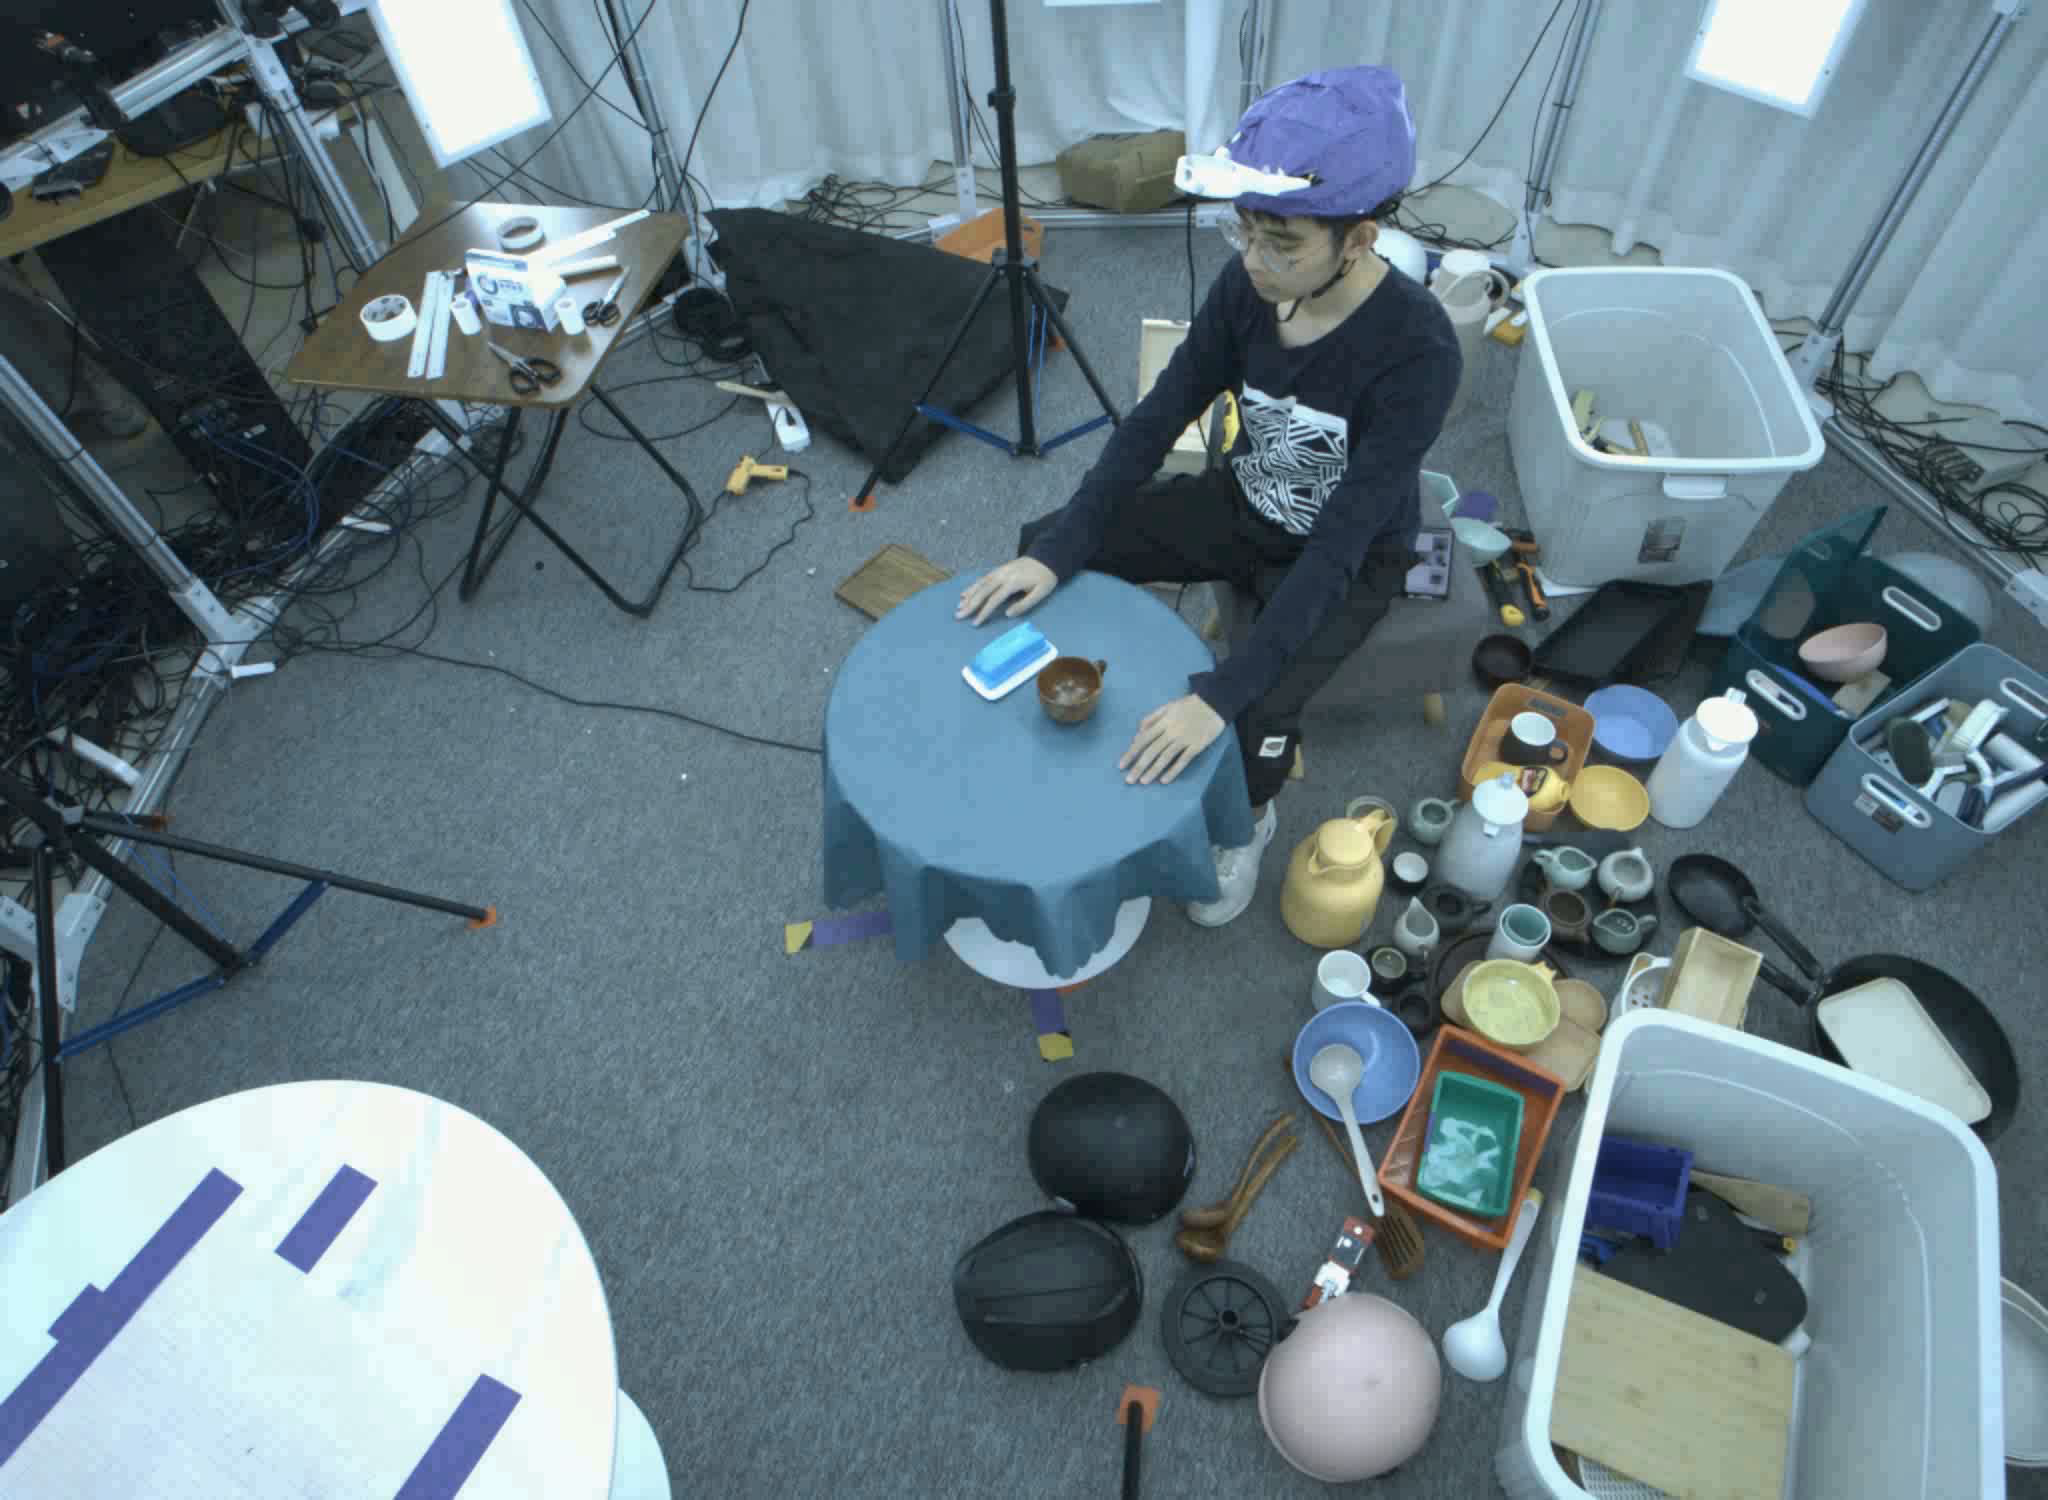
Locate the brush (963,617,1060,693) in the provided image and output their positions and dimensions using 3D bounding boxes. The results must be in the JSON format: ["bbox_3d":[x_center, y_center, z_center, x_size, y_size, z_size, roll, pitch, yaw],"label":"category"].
[{"bbox_3d":[-0.019,-0.151,1.851,0.145,0.056,0.082,-35,63,-18],"label":"brush"}]

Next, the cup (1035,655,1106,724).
[{"bbox_3d":[0.076,-0.088,1.800,0.120,0.068,0.094,-35,56,-23],"label":"cup"}]
